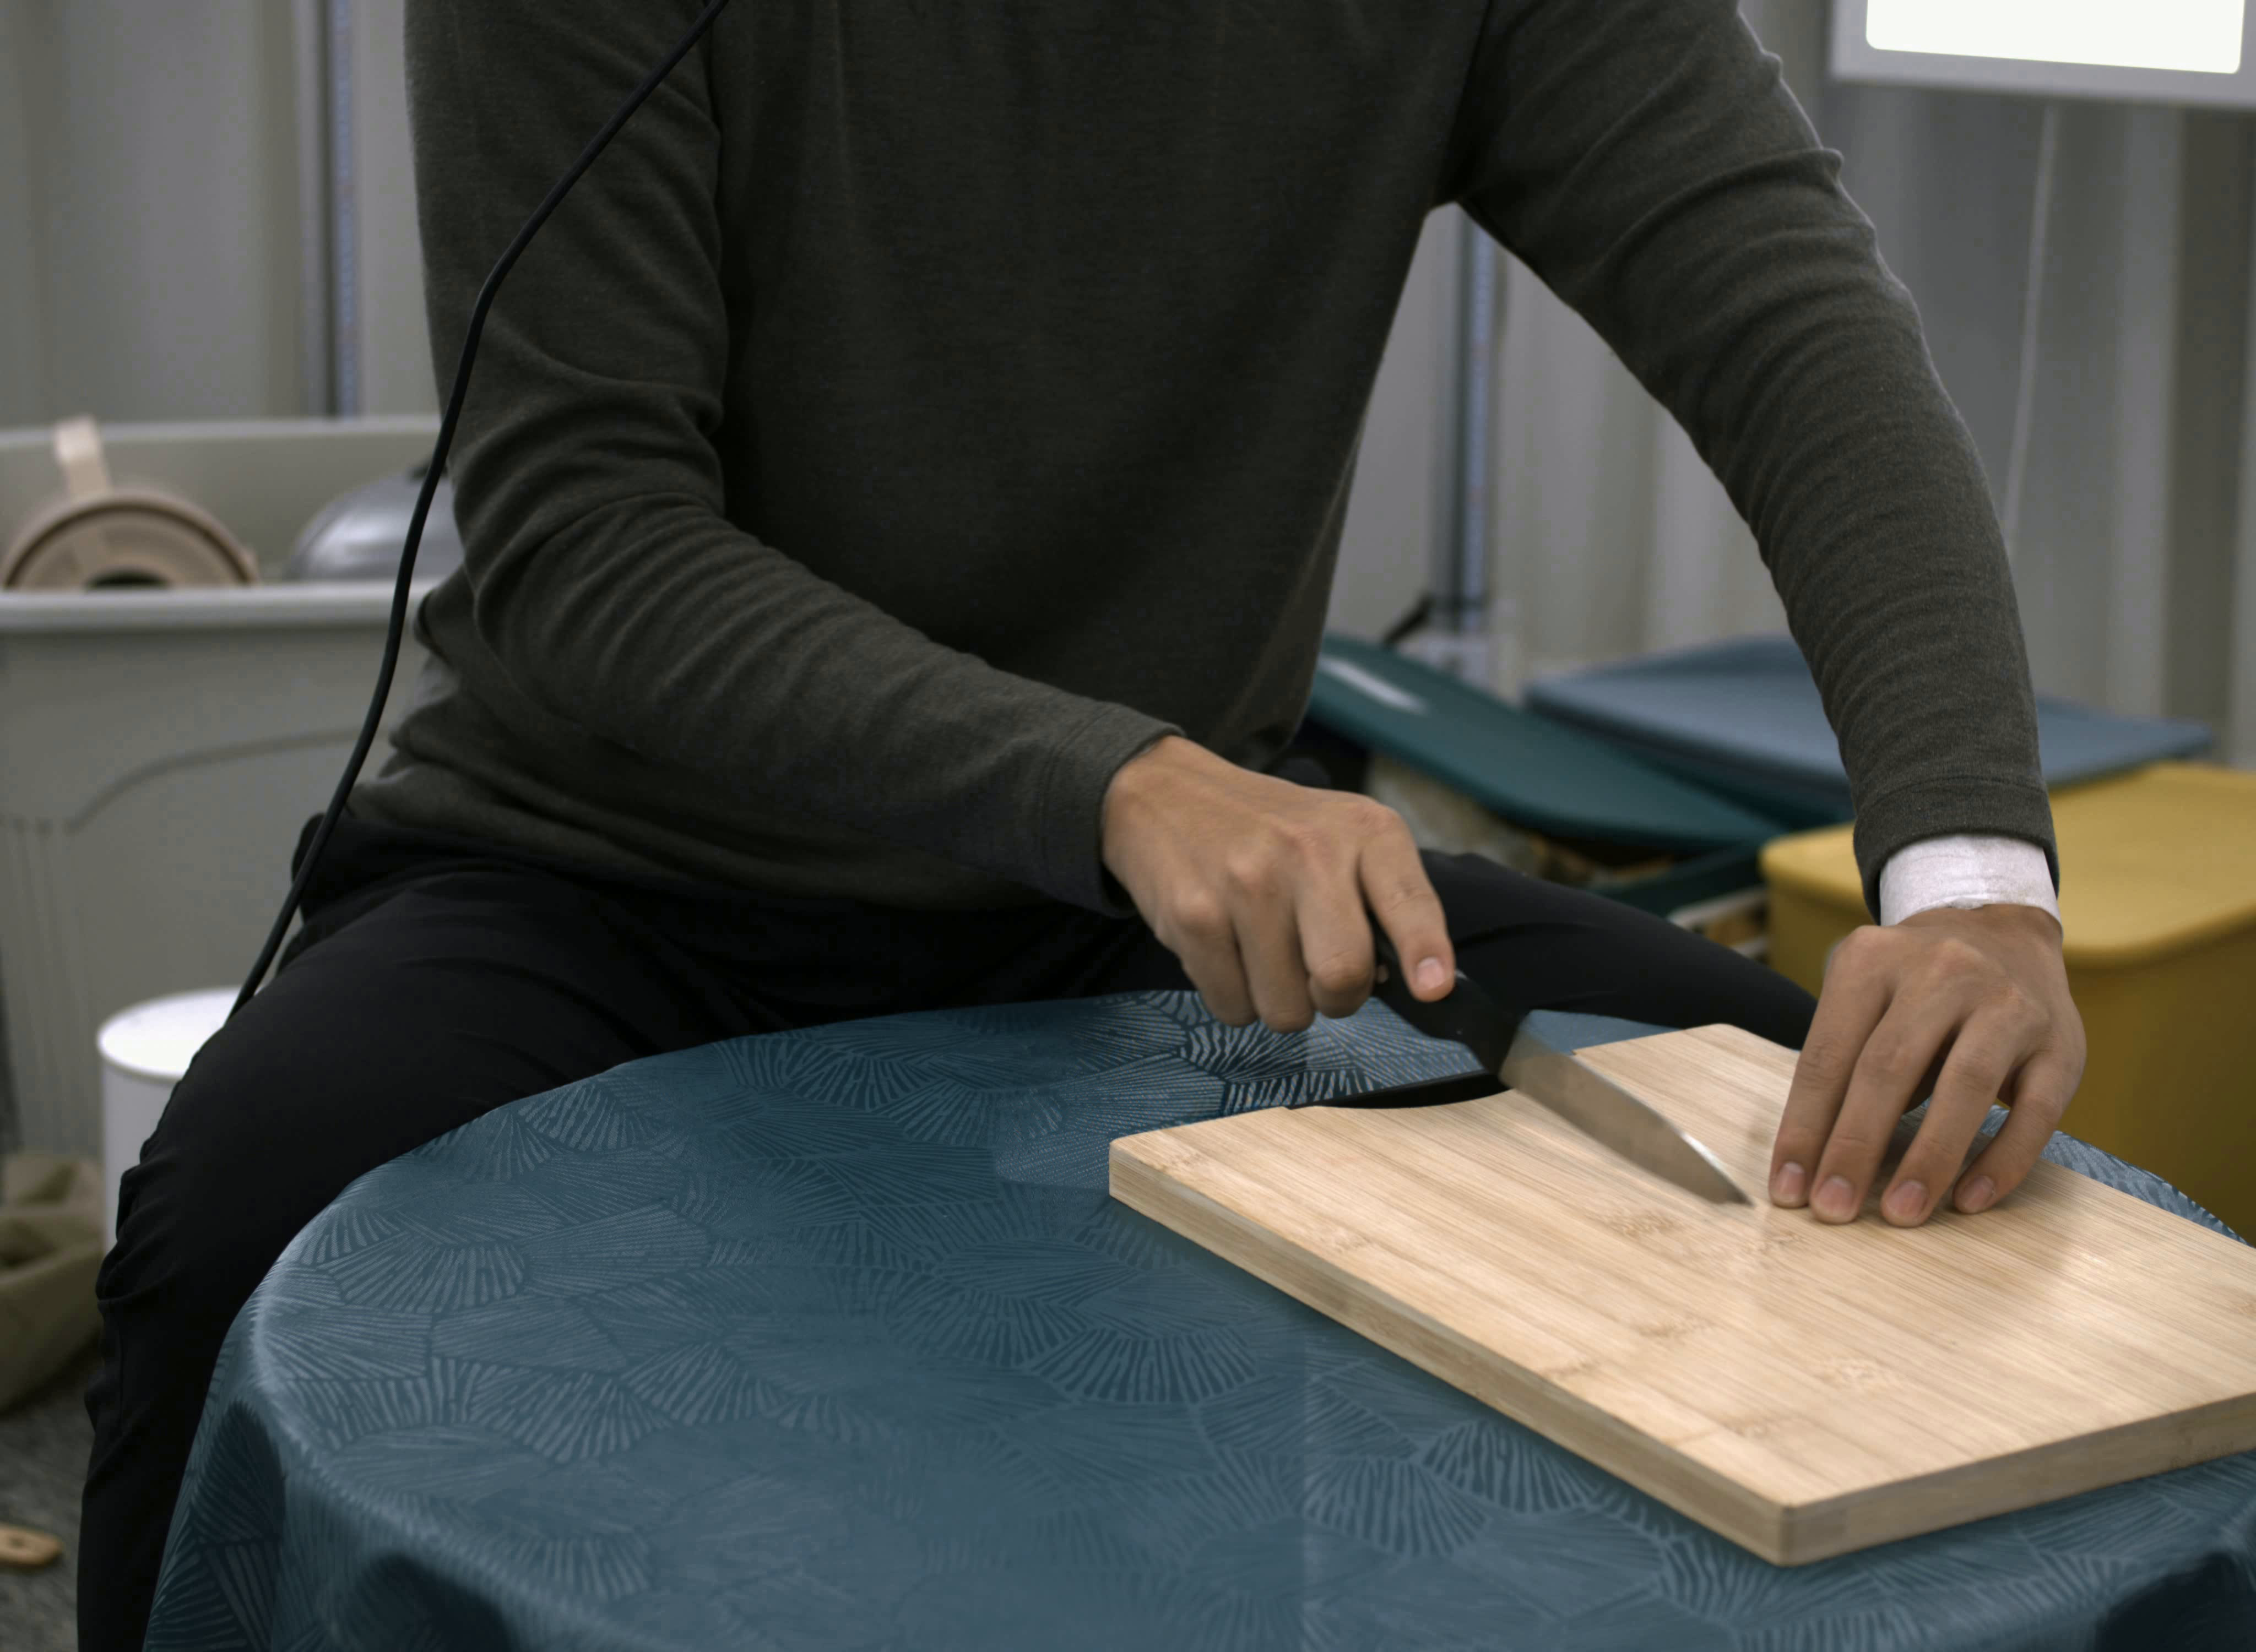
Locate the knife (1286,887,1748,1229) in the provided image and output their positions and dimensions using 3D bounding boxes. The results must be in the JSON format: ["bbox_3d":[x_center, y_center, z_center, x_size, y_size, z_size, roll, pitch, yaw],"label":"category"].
[{"bbox_3d":[0.119,0.069,1.627,0.016,0.024,0.235,-4,25,-34],"label":"knife"}]

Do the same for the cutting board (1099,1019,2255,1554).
[{"bbox_3d":[0.180,0.127,1.549,0.252,0.024,0.344,-9,18,-32],"label":"cutting board"}]
